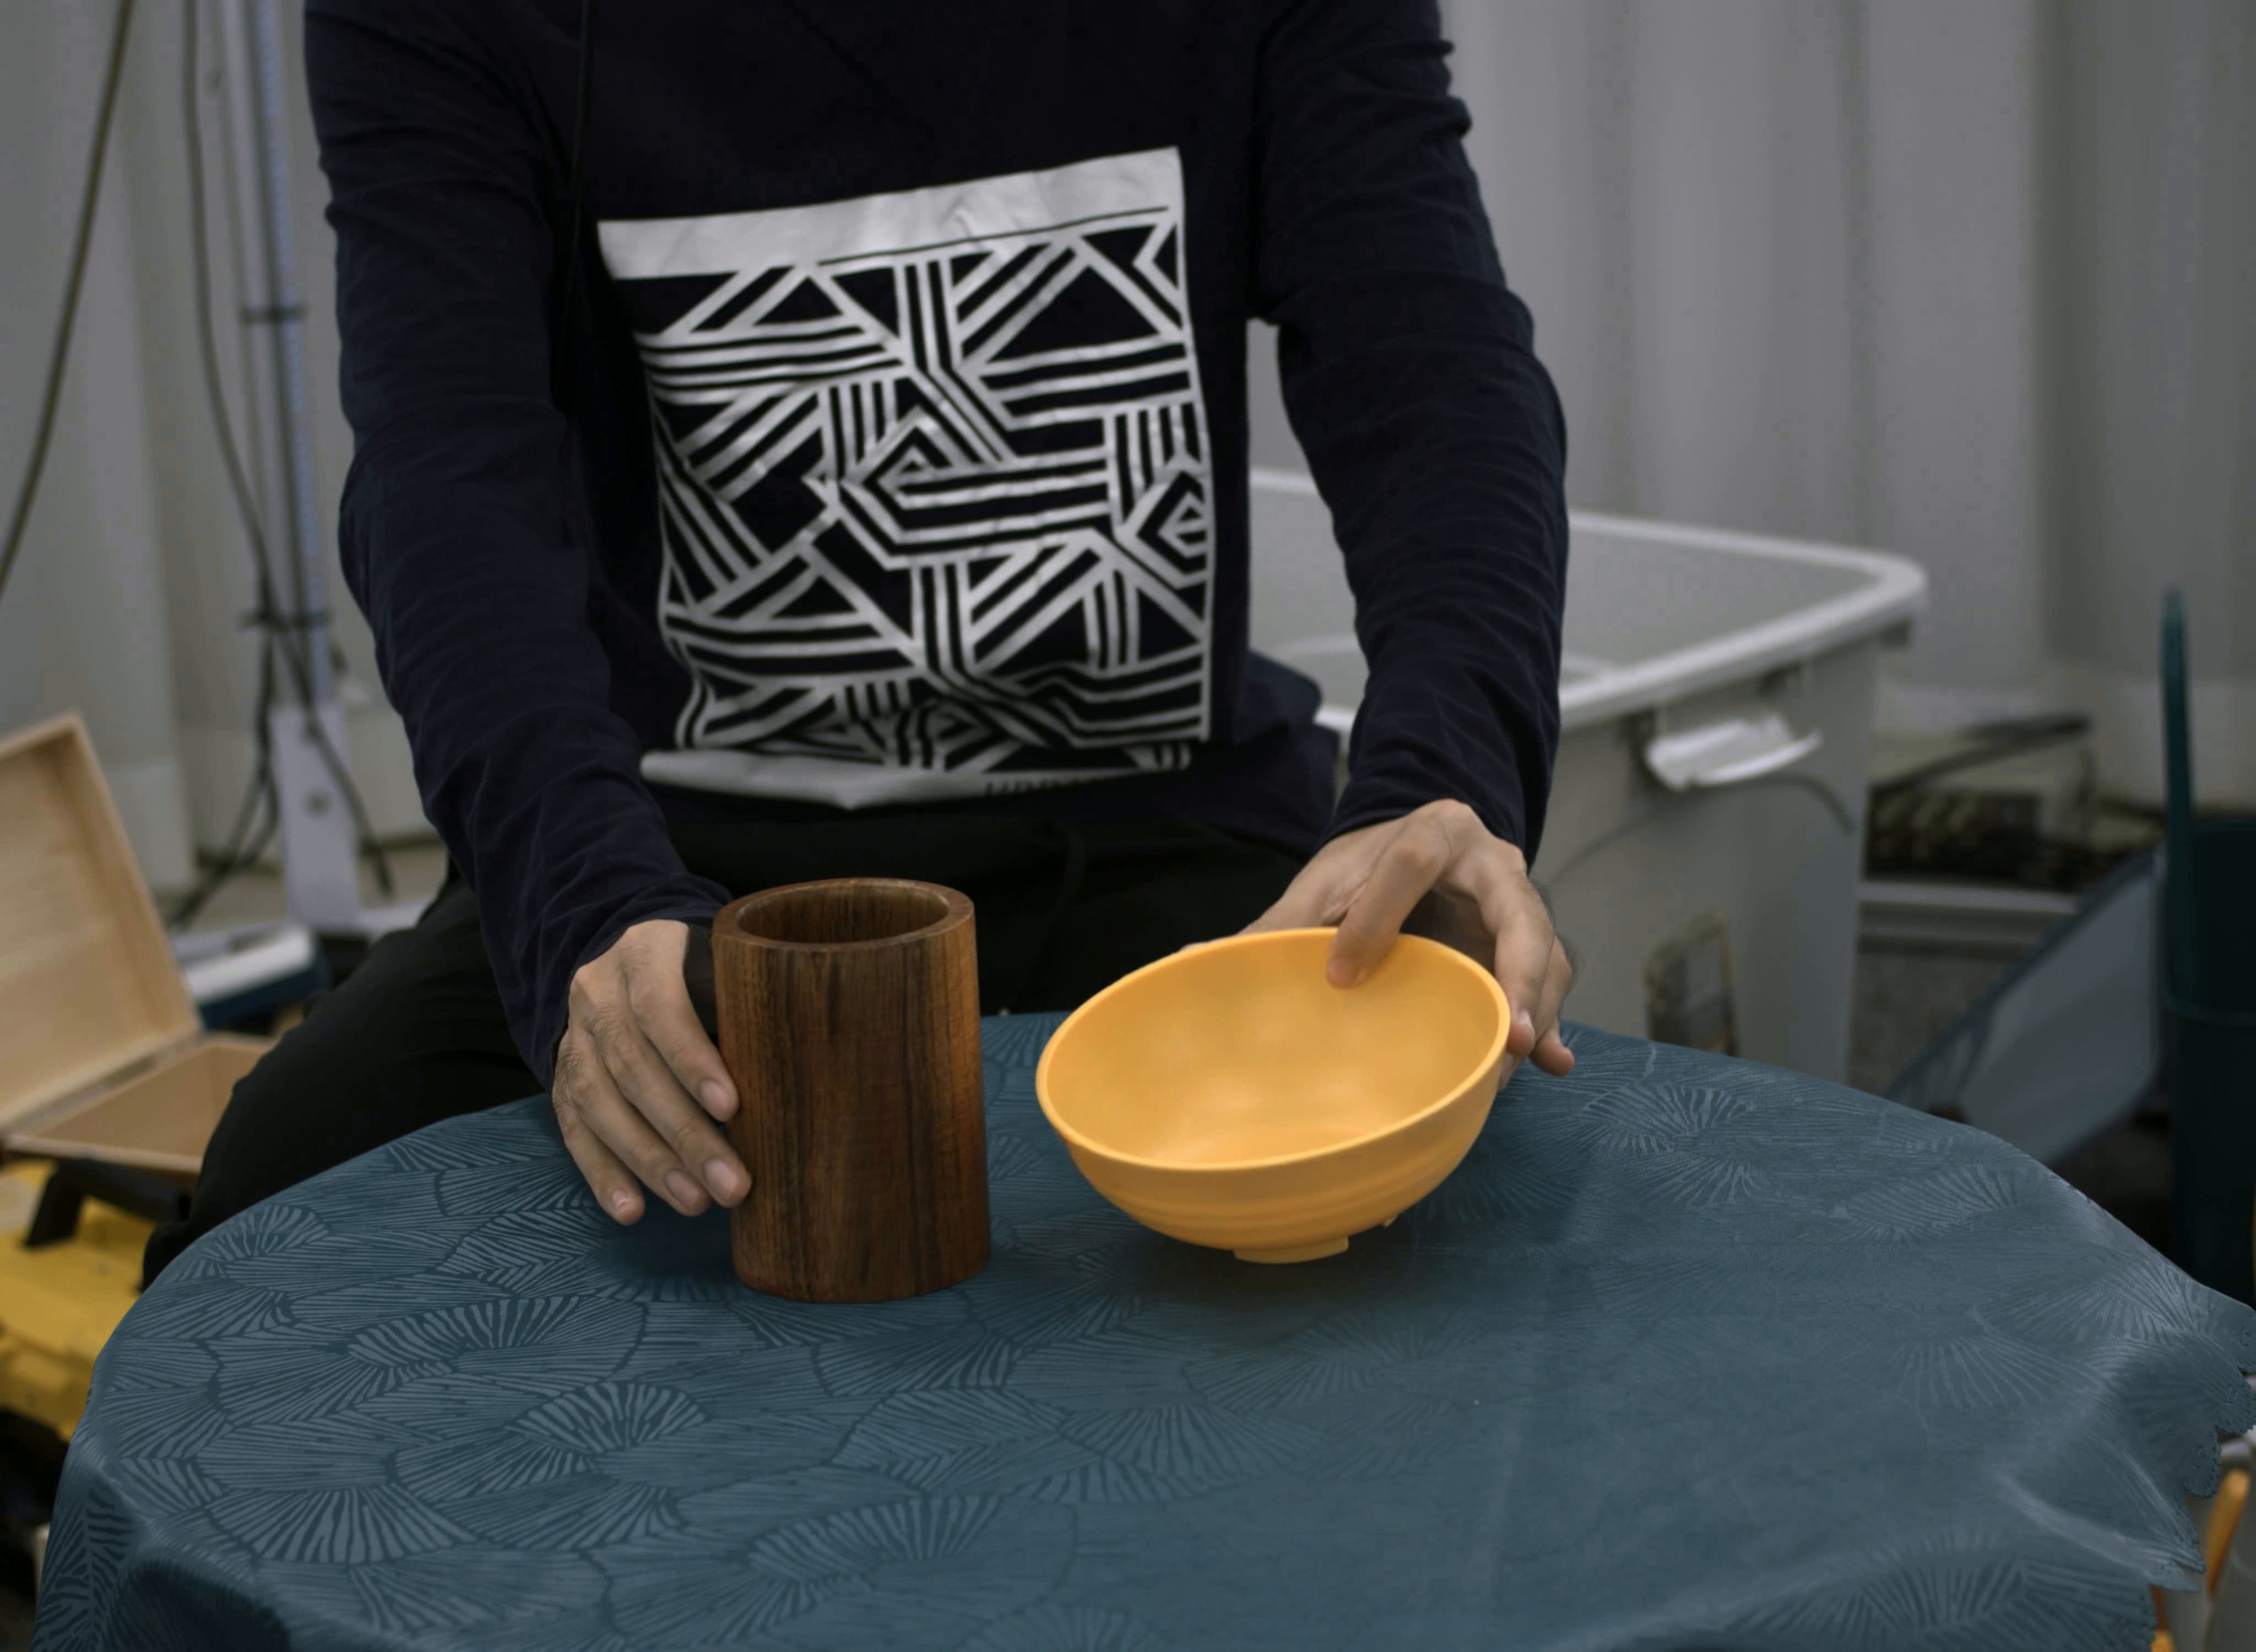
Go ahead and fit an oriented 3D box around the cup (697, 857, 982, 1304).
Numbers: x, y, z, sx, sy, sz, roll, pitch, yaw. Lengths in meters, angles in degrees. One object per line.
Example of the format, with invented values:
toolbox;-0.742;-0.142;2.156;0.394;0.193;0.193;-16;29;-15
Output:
cup;-0.088;0.076;1.651;0.087;0.118;0.088;1;13;0

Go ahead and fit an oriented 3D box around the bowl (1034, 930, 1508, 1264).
bowl;0.047;0.091;1.657;0.145;0.059;0.147;-9;25;4
